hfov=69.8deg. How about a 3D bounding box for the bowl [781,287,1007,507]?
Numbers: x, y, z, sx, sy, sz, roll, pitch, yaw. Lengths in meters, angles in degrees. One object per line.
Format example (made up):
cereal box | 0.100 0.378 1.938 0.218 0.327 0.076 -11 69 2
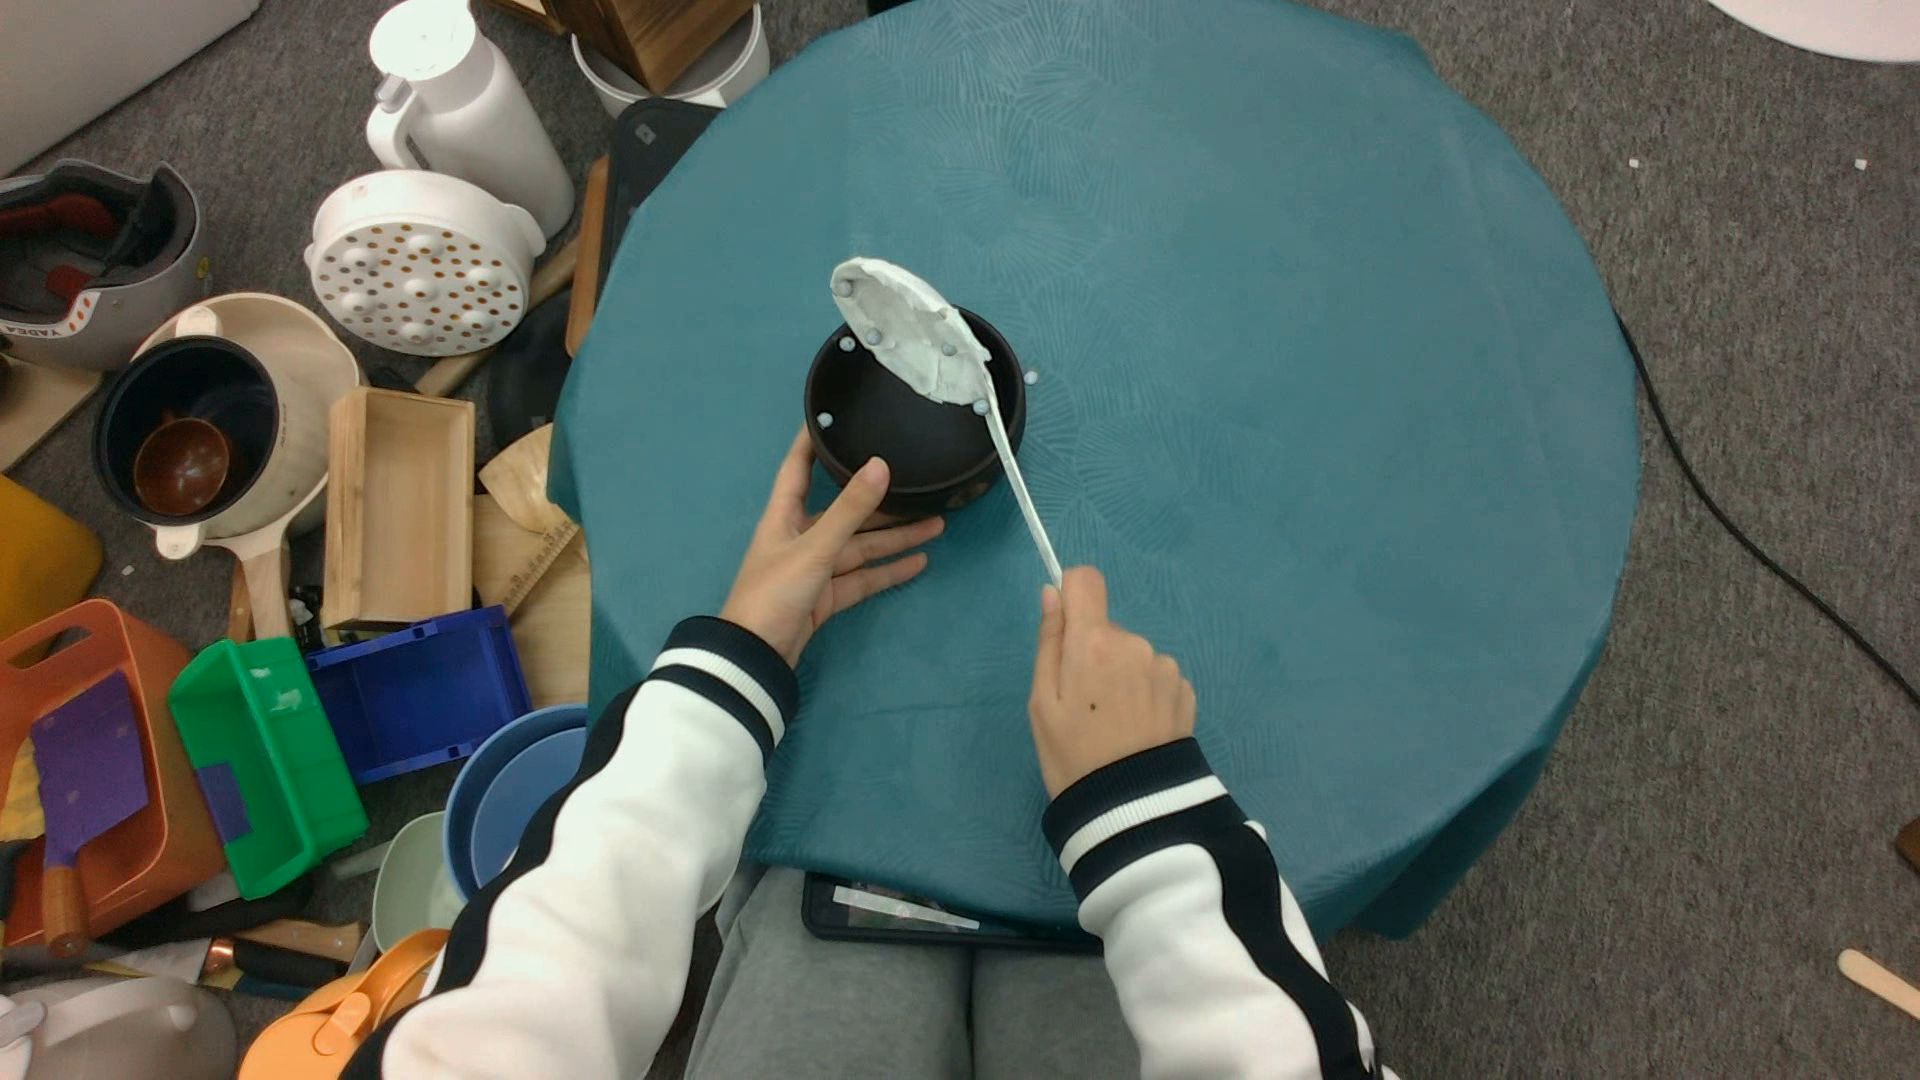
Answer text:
bowl | -0.034 -0.071 0.741 0.118 0.069 0.118 -1 70 2

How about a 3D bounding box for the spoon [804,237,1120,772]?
spoon | -0.002 -0.015 0.644 0.059 0.100 0.277 -17 80 -18
